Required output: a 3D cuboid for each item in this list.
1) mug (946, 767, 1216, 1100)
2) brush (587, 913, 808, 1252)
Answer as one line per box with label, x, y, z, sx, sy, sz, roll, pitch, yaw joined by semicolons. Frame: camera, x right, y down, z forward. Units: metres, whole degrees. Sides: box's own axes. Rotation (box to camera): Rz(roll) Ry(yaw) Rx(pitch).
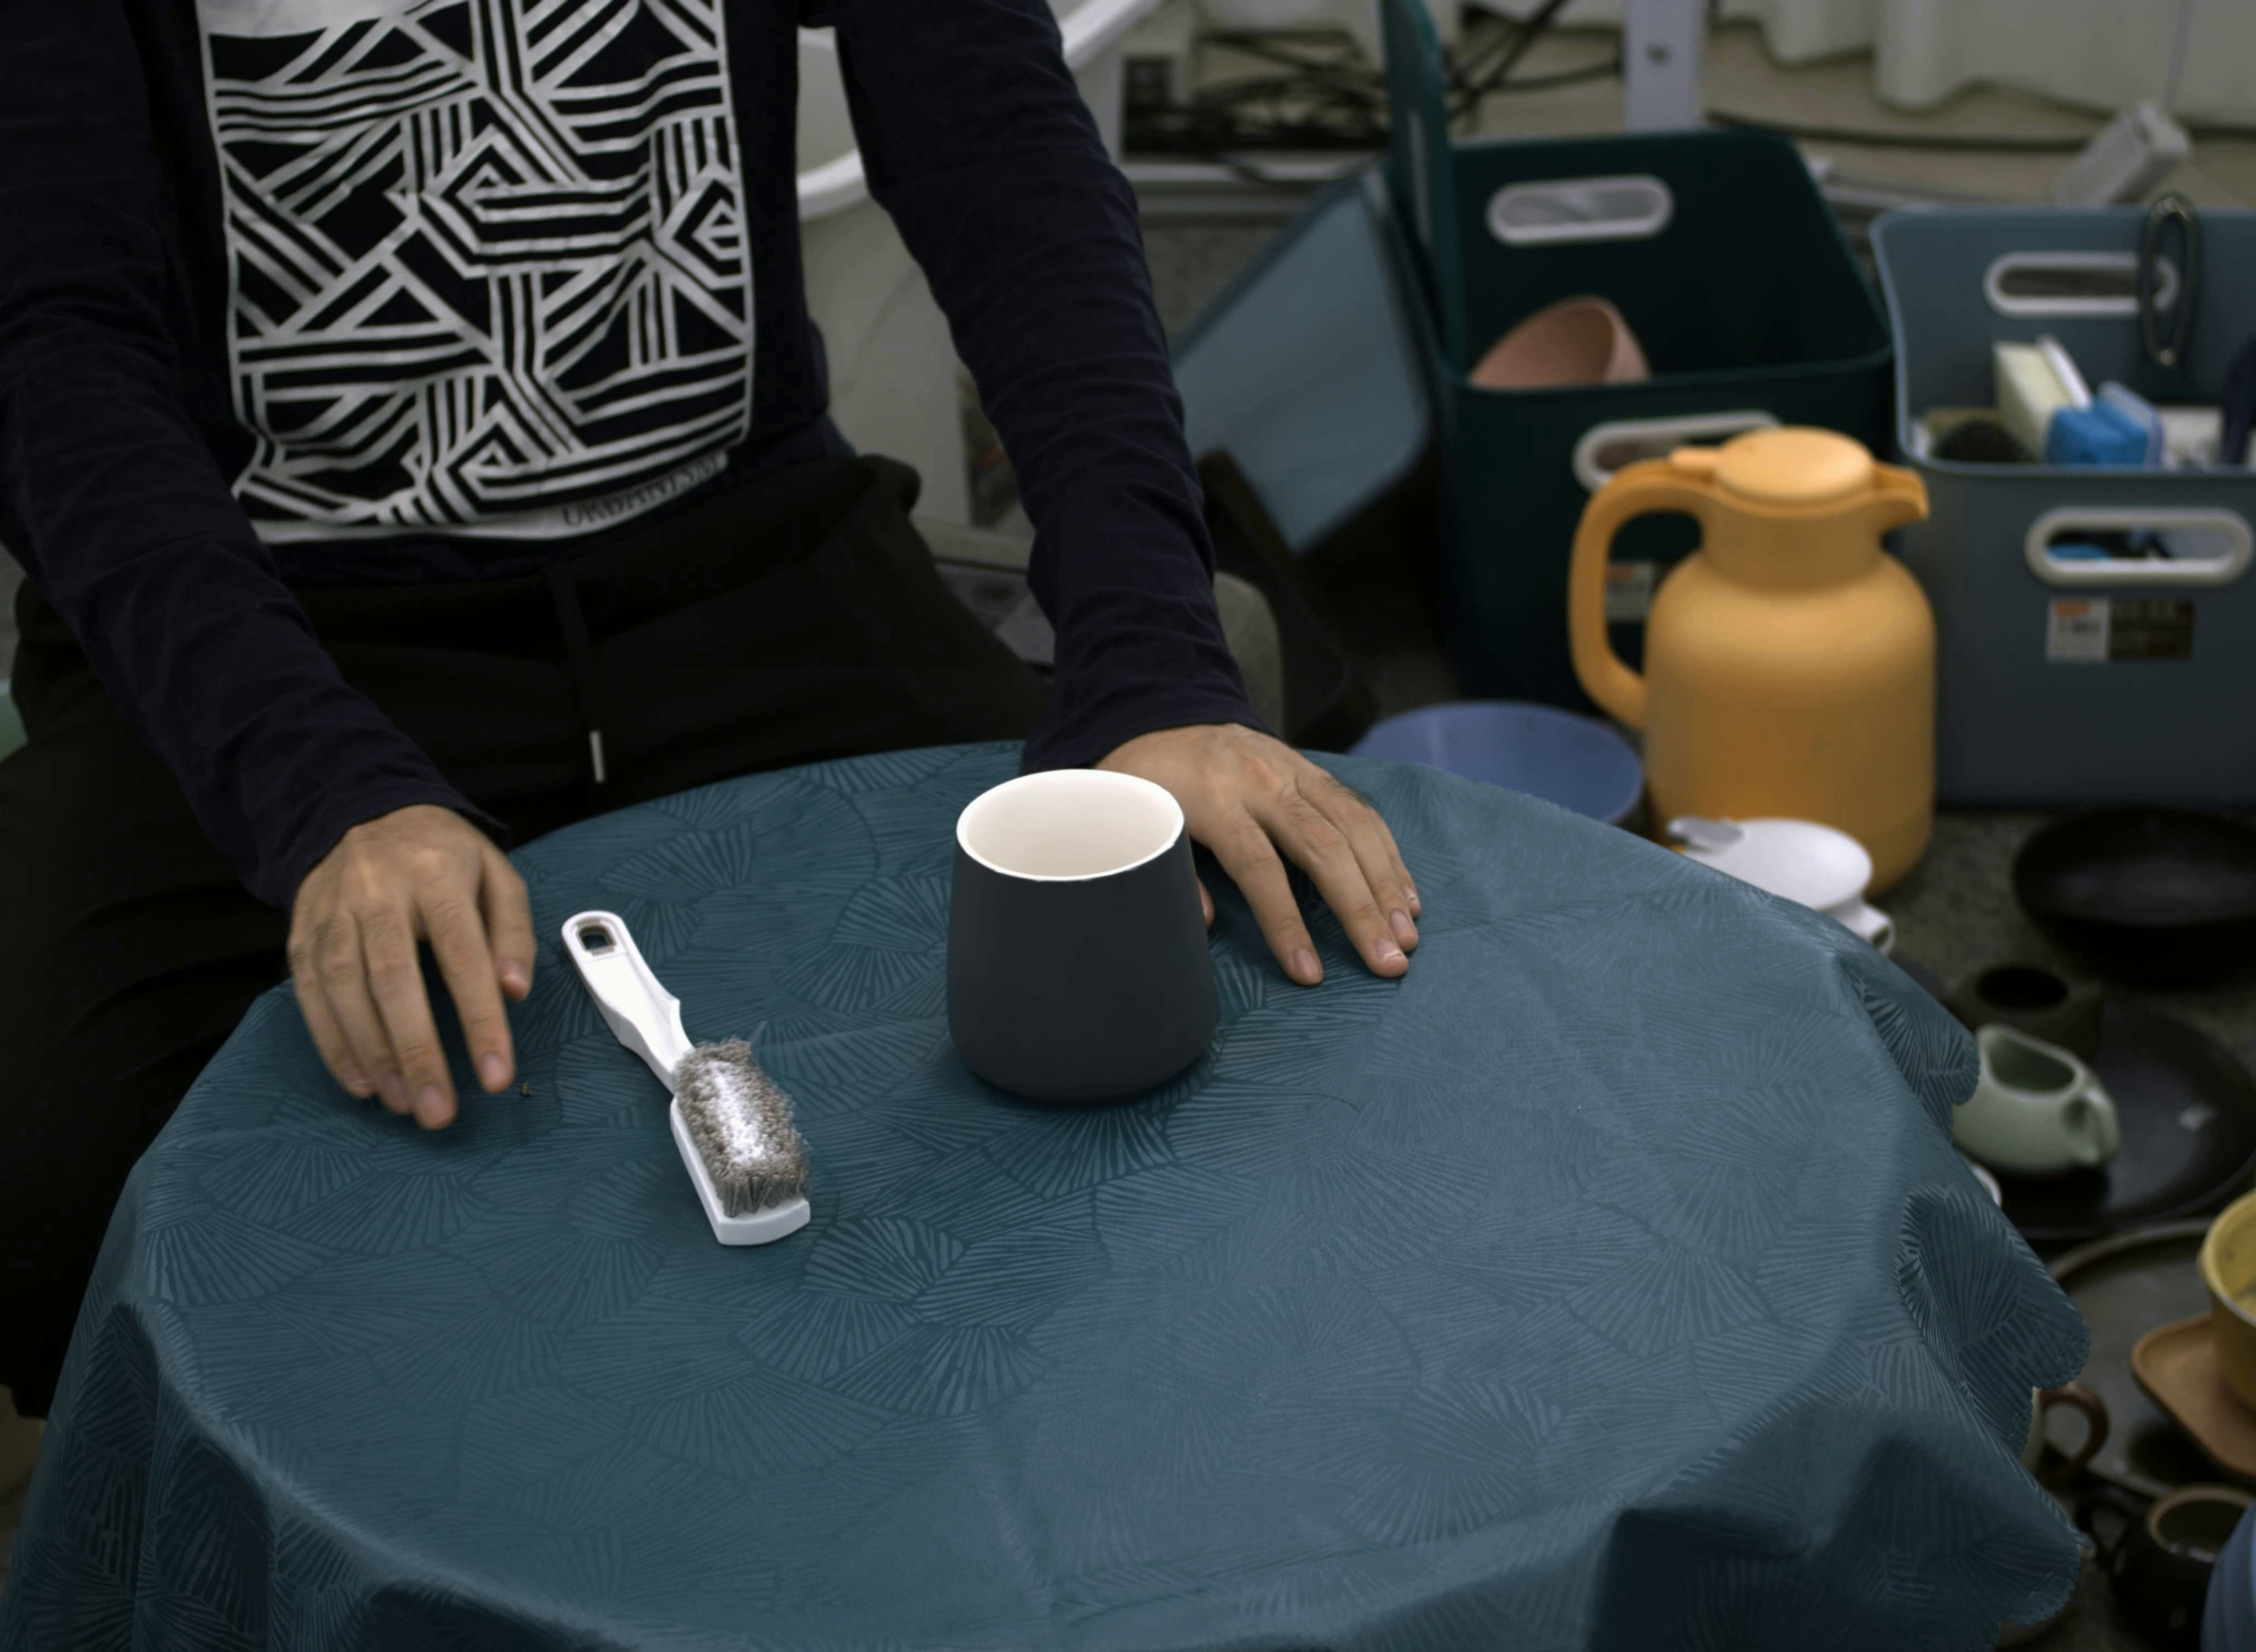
mug;-0.019;0.030;1.937;0.093;0.089;0.125;-4;28;-6
brush;-0.153;0.070;1.923;0.034;0.050;0.246;-12;29;-12
